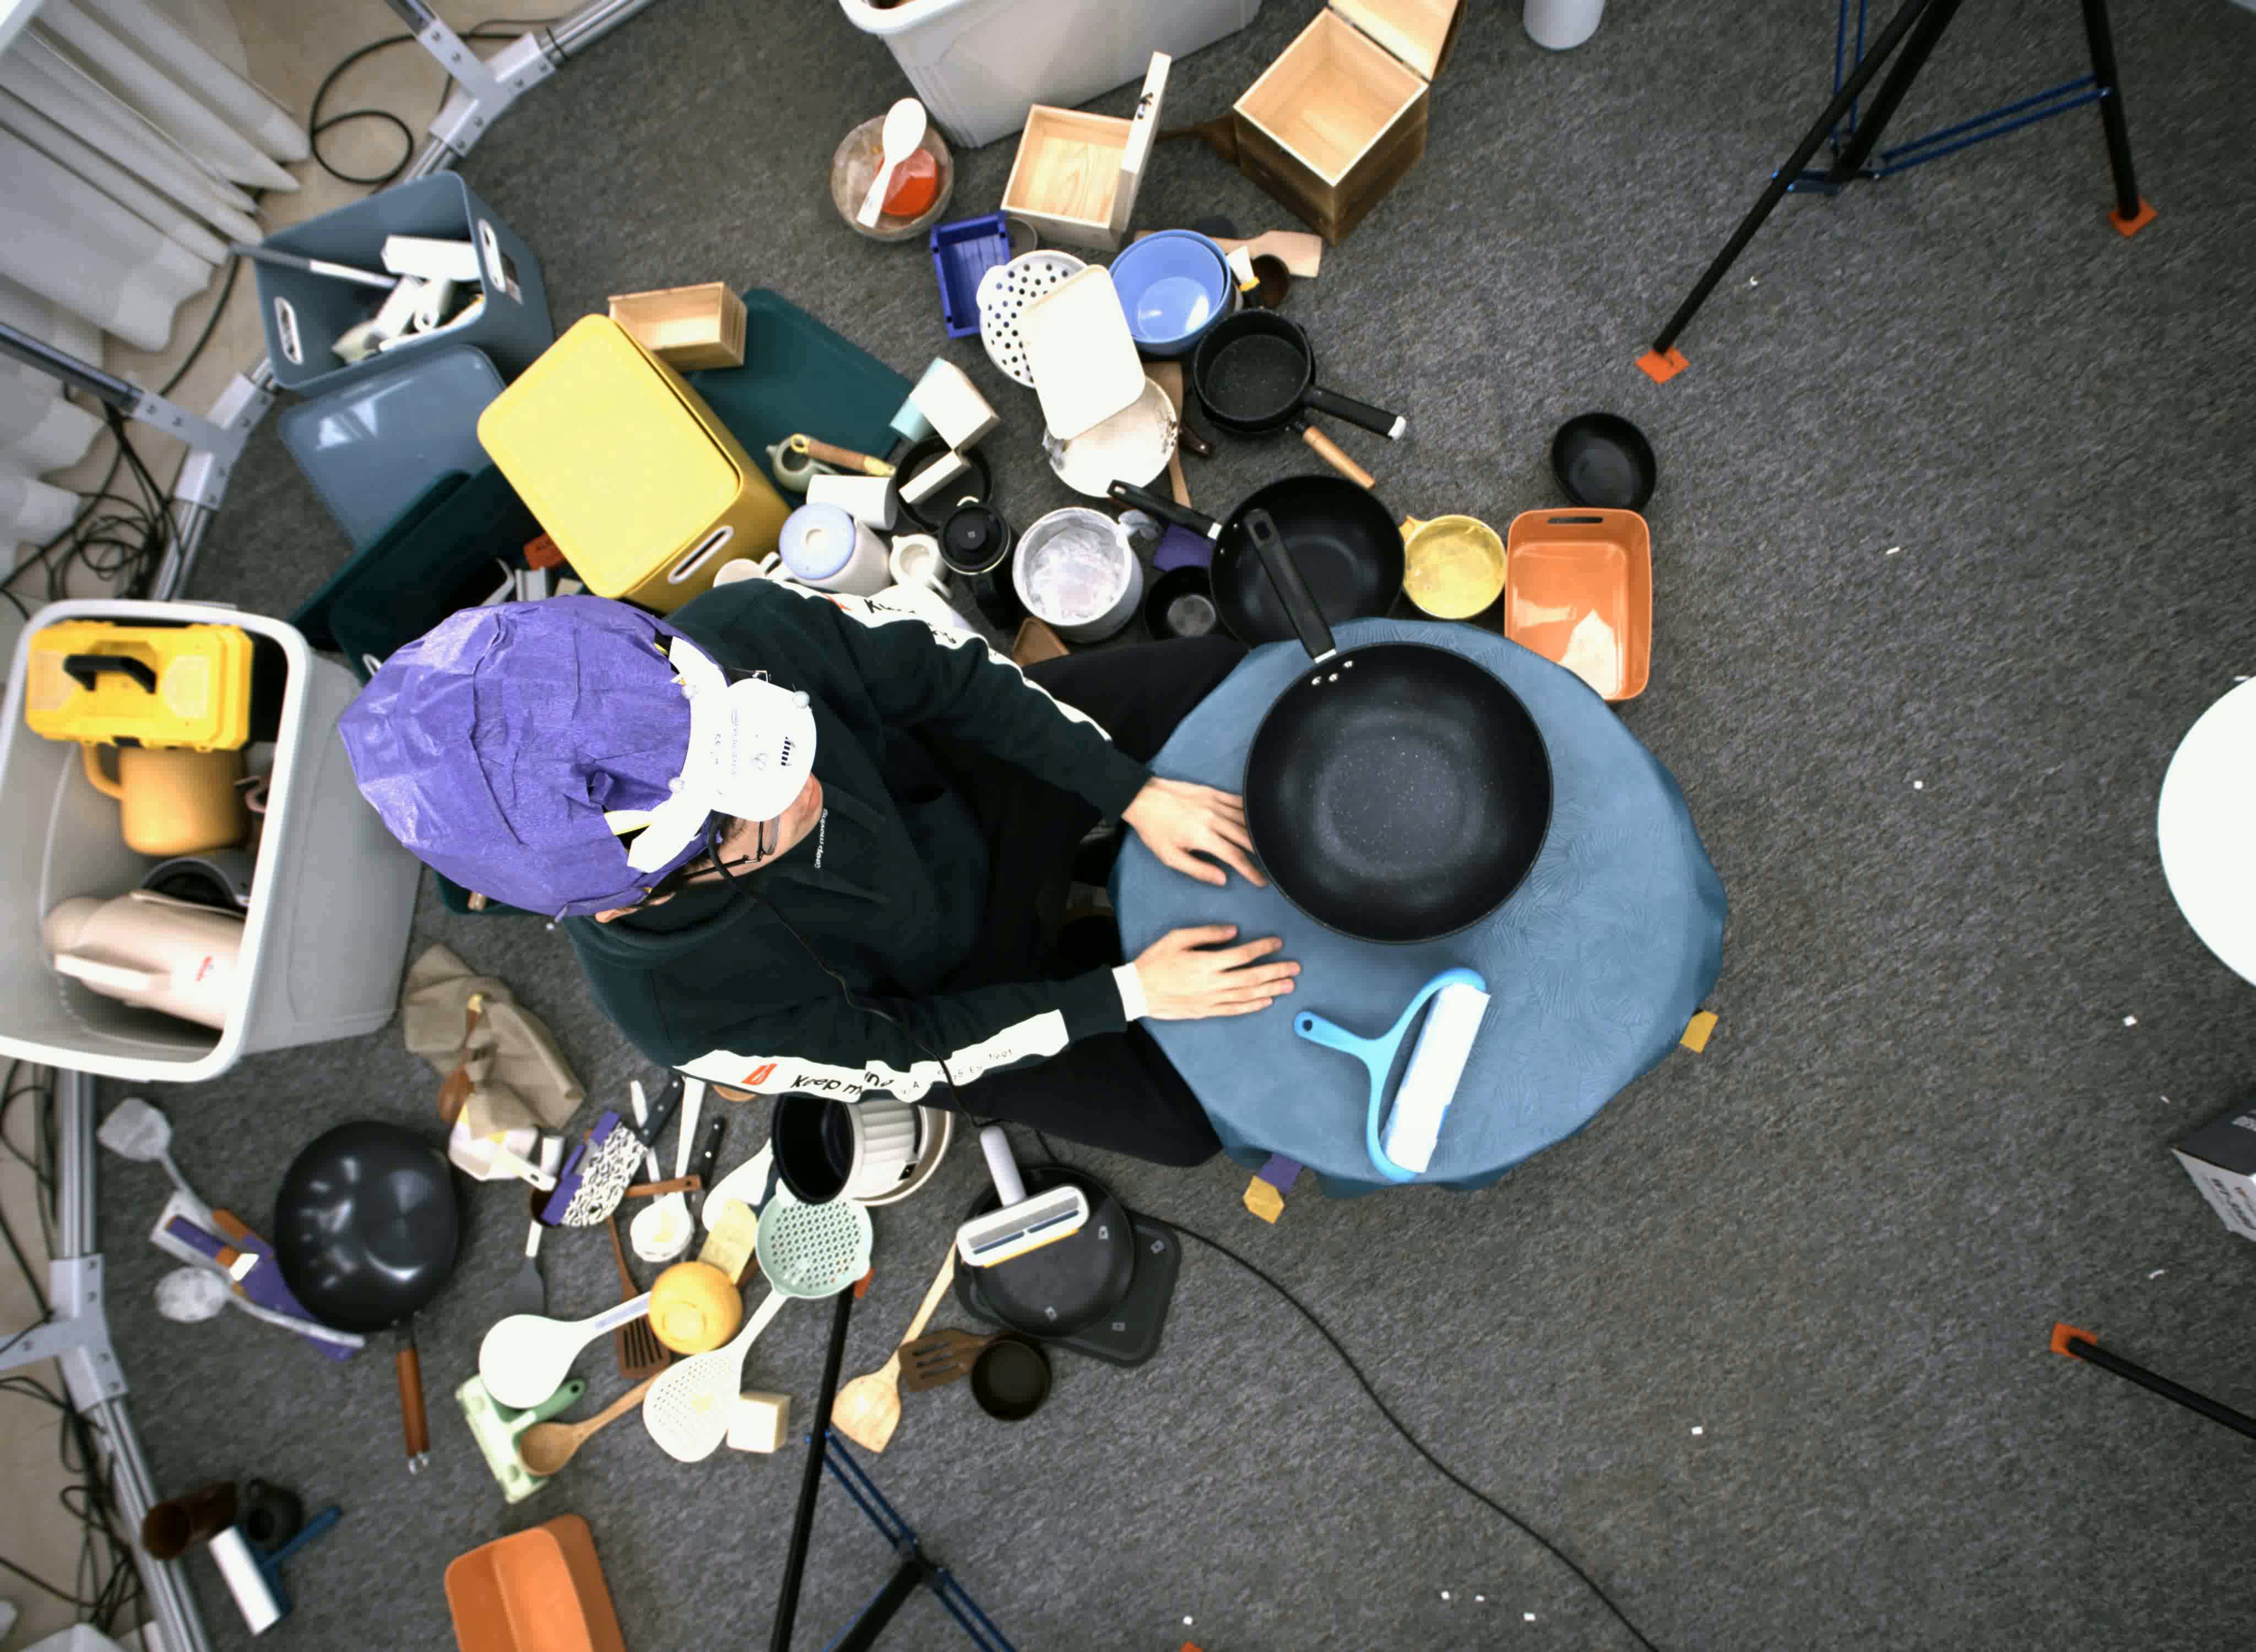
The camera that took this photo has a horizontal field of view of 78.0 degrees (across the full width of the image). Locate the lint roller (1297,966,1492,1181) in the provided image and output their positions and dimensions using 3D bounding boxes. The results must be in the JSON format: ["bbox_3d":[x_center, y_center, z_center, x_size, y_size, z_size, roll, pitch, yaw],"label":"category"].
[{"bbox_3d":[0.258,0.234,1.421,0.180,0.068,0.229,17,93,8],"label":"lint roller"}]

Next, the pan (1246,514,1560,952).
[{"bbox_3d":[0.241,-0.101,1.415,0.311,0.112,0.474,-27,83,6],"label":"pan"}]
